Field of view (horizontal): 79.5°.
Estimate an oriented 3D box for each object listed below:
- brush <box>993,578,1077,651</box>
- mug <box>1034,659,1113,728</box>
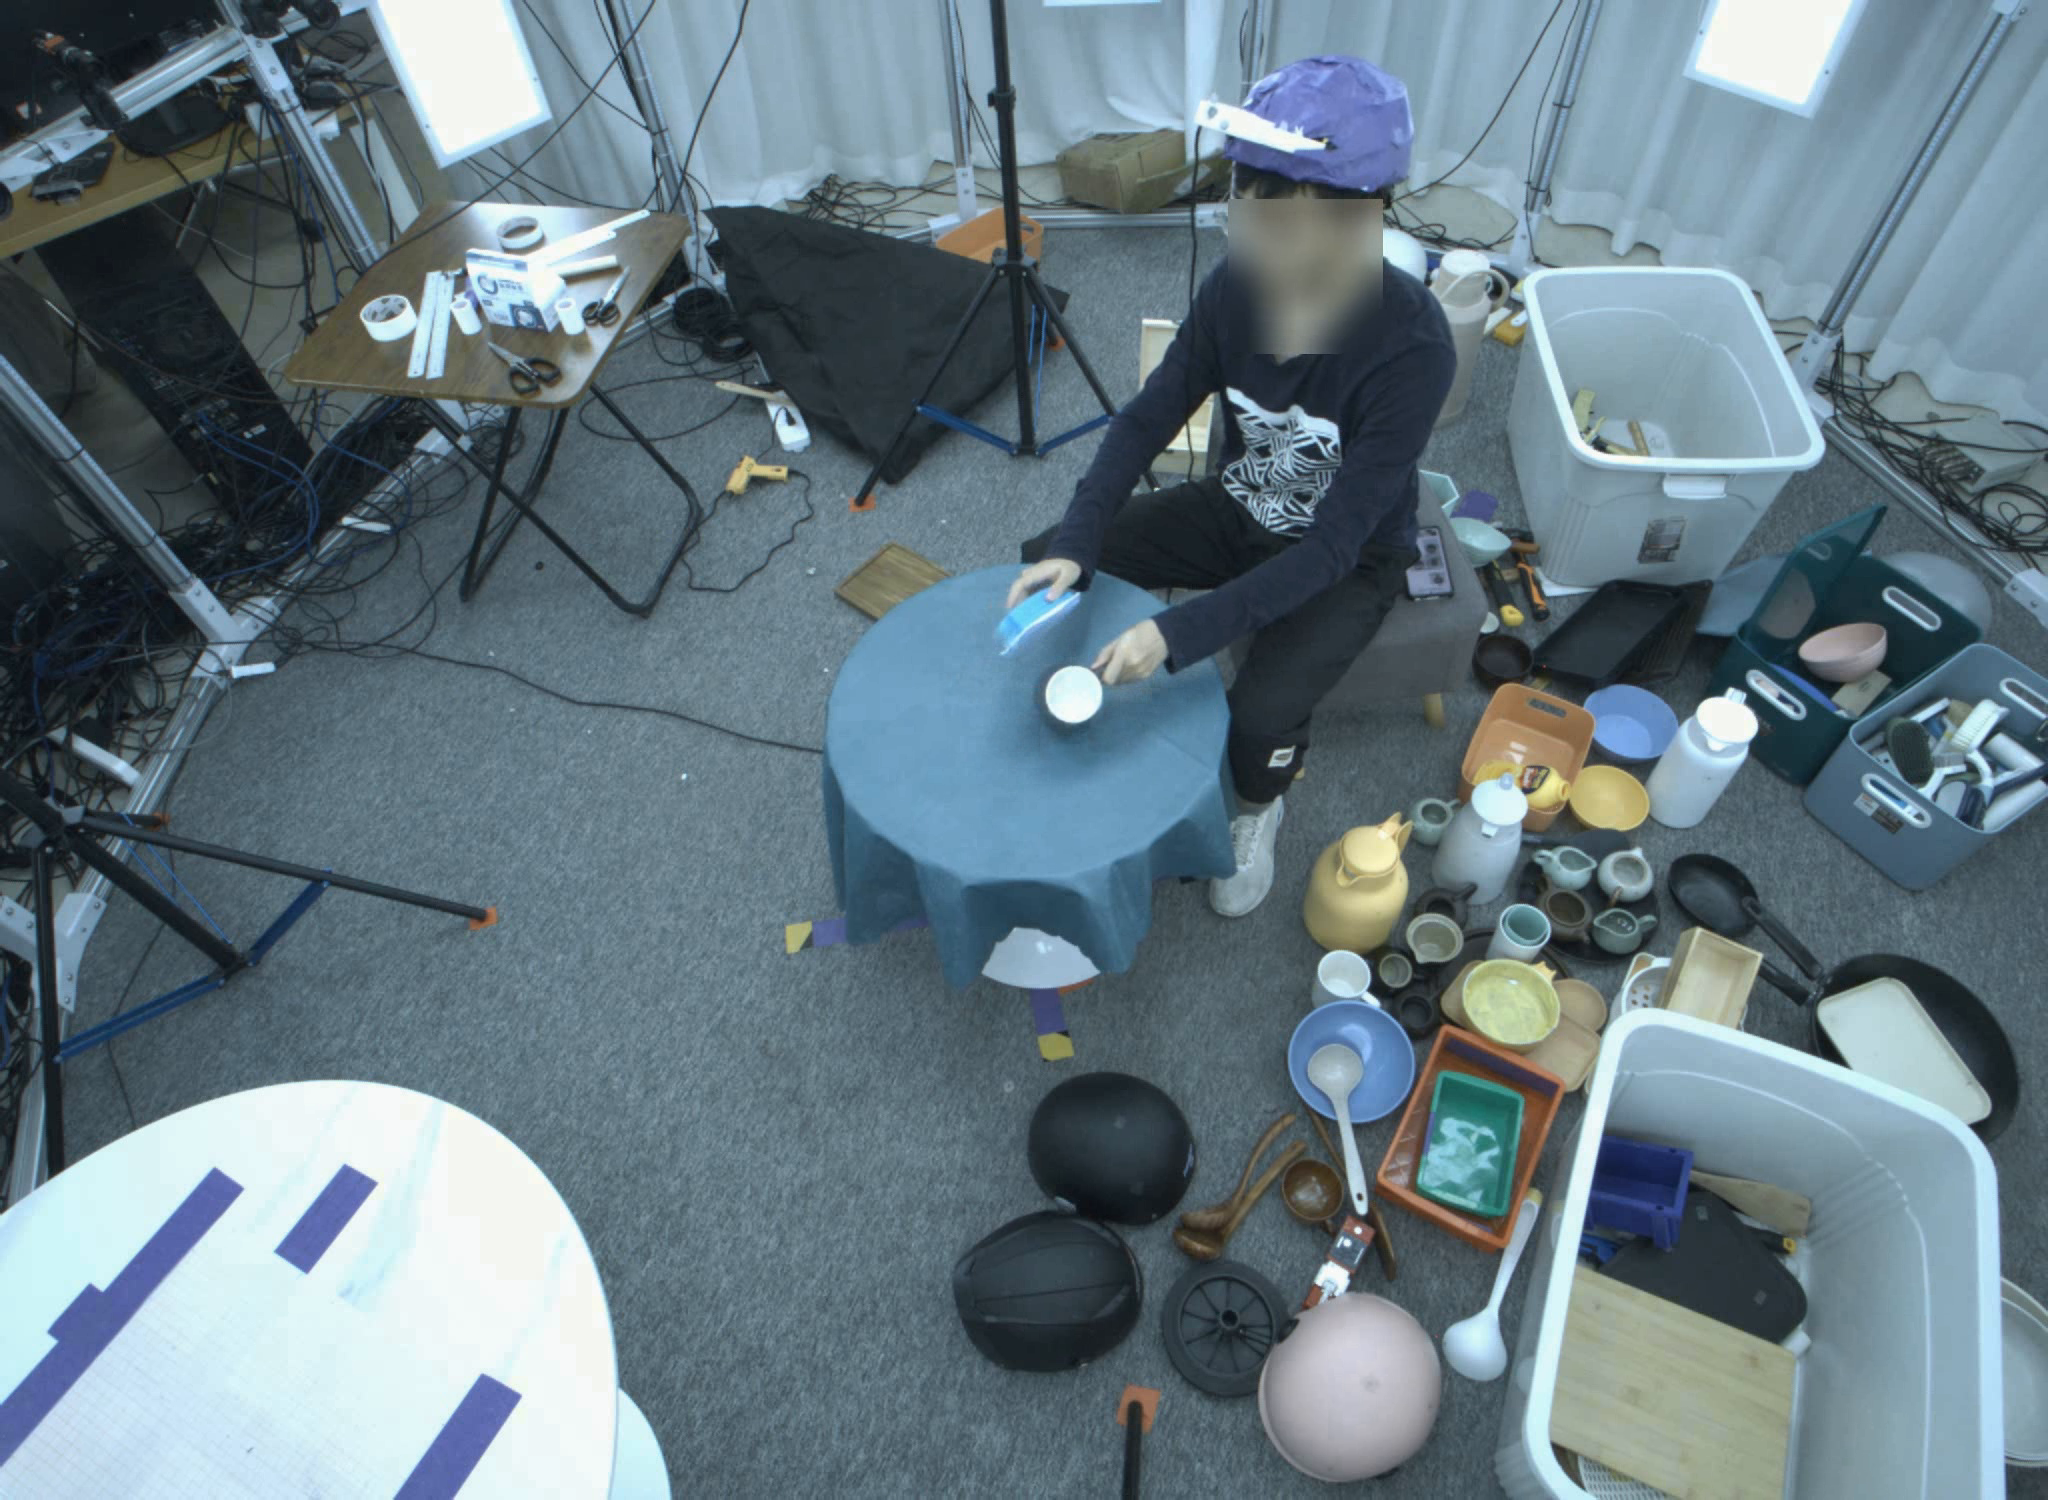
[{"bbox_3d":[0.009,-0.198,1.751,0.056,0.083,0.145,51,52,-2],"label":"brush"},{"bbox_3d":[0.076,-0.087,1.757,0.123,0.089,0.094,-38,98,-5],"label":"mug"}]
